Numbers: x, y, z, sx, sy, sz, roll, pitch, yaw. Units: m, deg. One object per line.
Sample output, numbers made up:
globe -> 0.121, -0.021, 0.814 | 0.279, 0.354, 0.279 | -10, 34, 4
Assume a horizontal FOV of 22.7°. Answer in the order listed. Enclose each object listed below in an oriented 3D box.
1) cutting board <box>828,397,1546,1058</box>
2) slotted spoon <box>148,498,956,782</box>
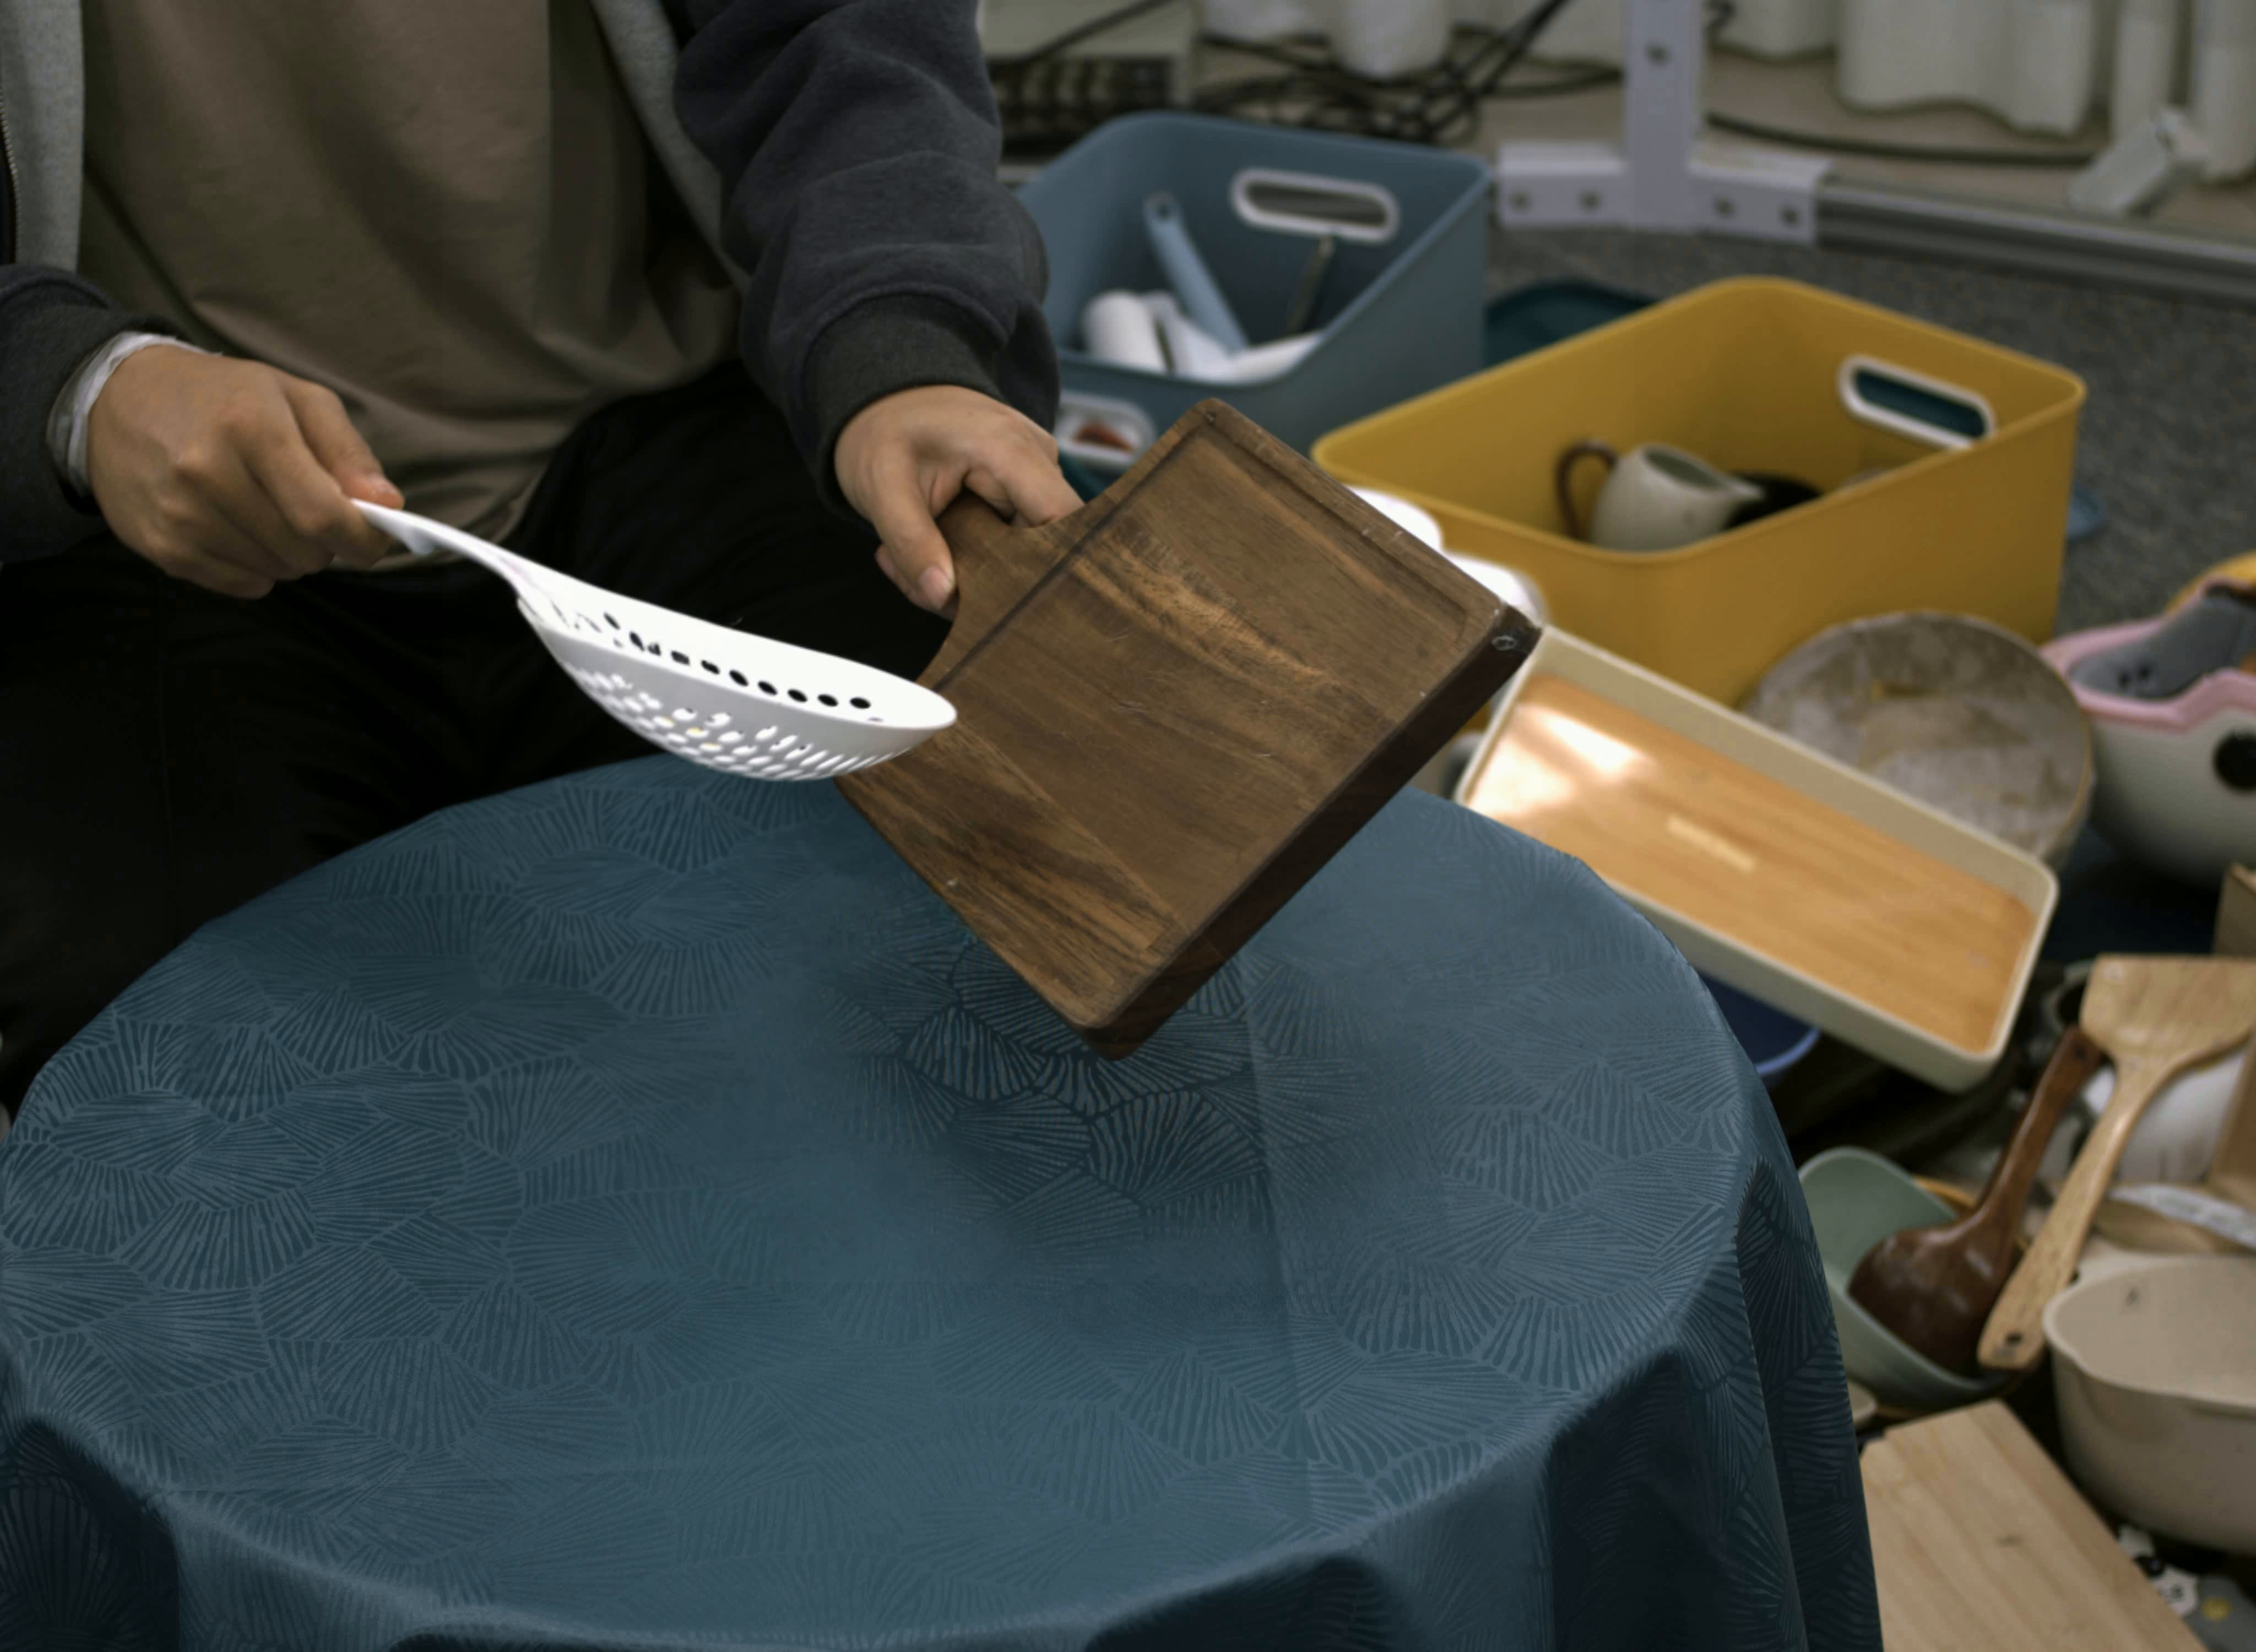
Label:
cutting board -> -0.005, -0.056, 1.940 | 0.201, 0.023, 0.354 | -44, 31, -3
slotted spoon -> -0.210, -0.075, 1.923 | 0.347, 0.050, 0.137 | 25, 14, 36
